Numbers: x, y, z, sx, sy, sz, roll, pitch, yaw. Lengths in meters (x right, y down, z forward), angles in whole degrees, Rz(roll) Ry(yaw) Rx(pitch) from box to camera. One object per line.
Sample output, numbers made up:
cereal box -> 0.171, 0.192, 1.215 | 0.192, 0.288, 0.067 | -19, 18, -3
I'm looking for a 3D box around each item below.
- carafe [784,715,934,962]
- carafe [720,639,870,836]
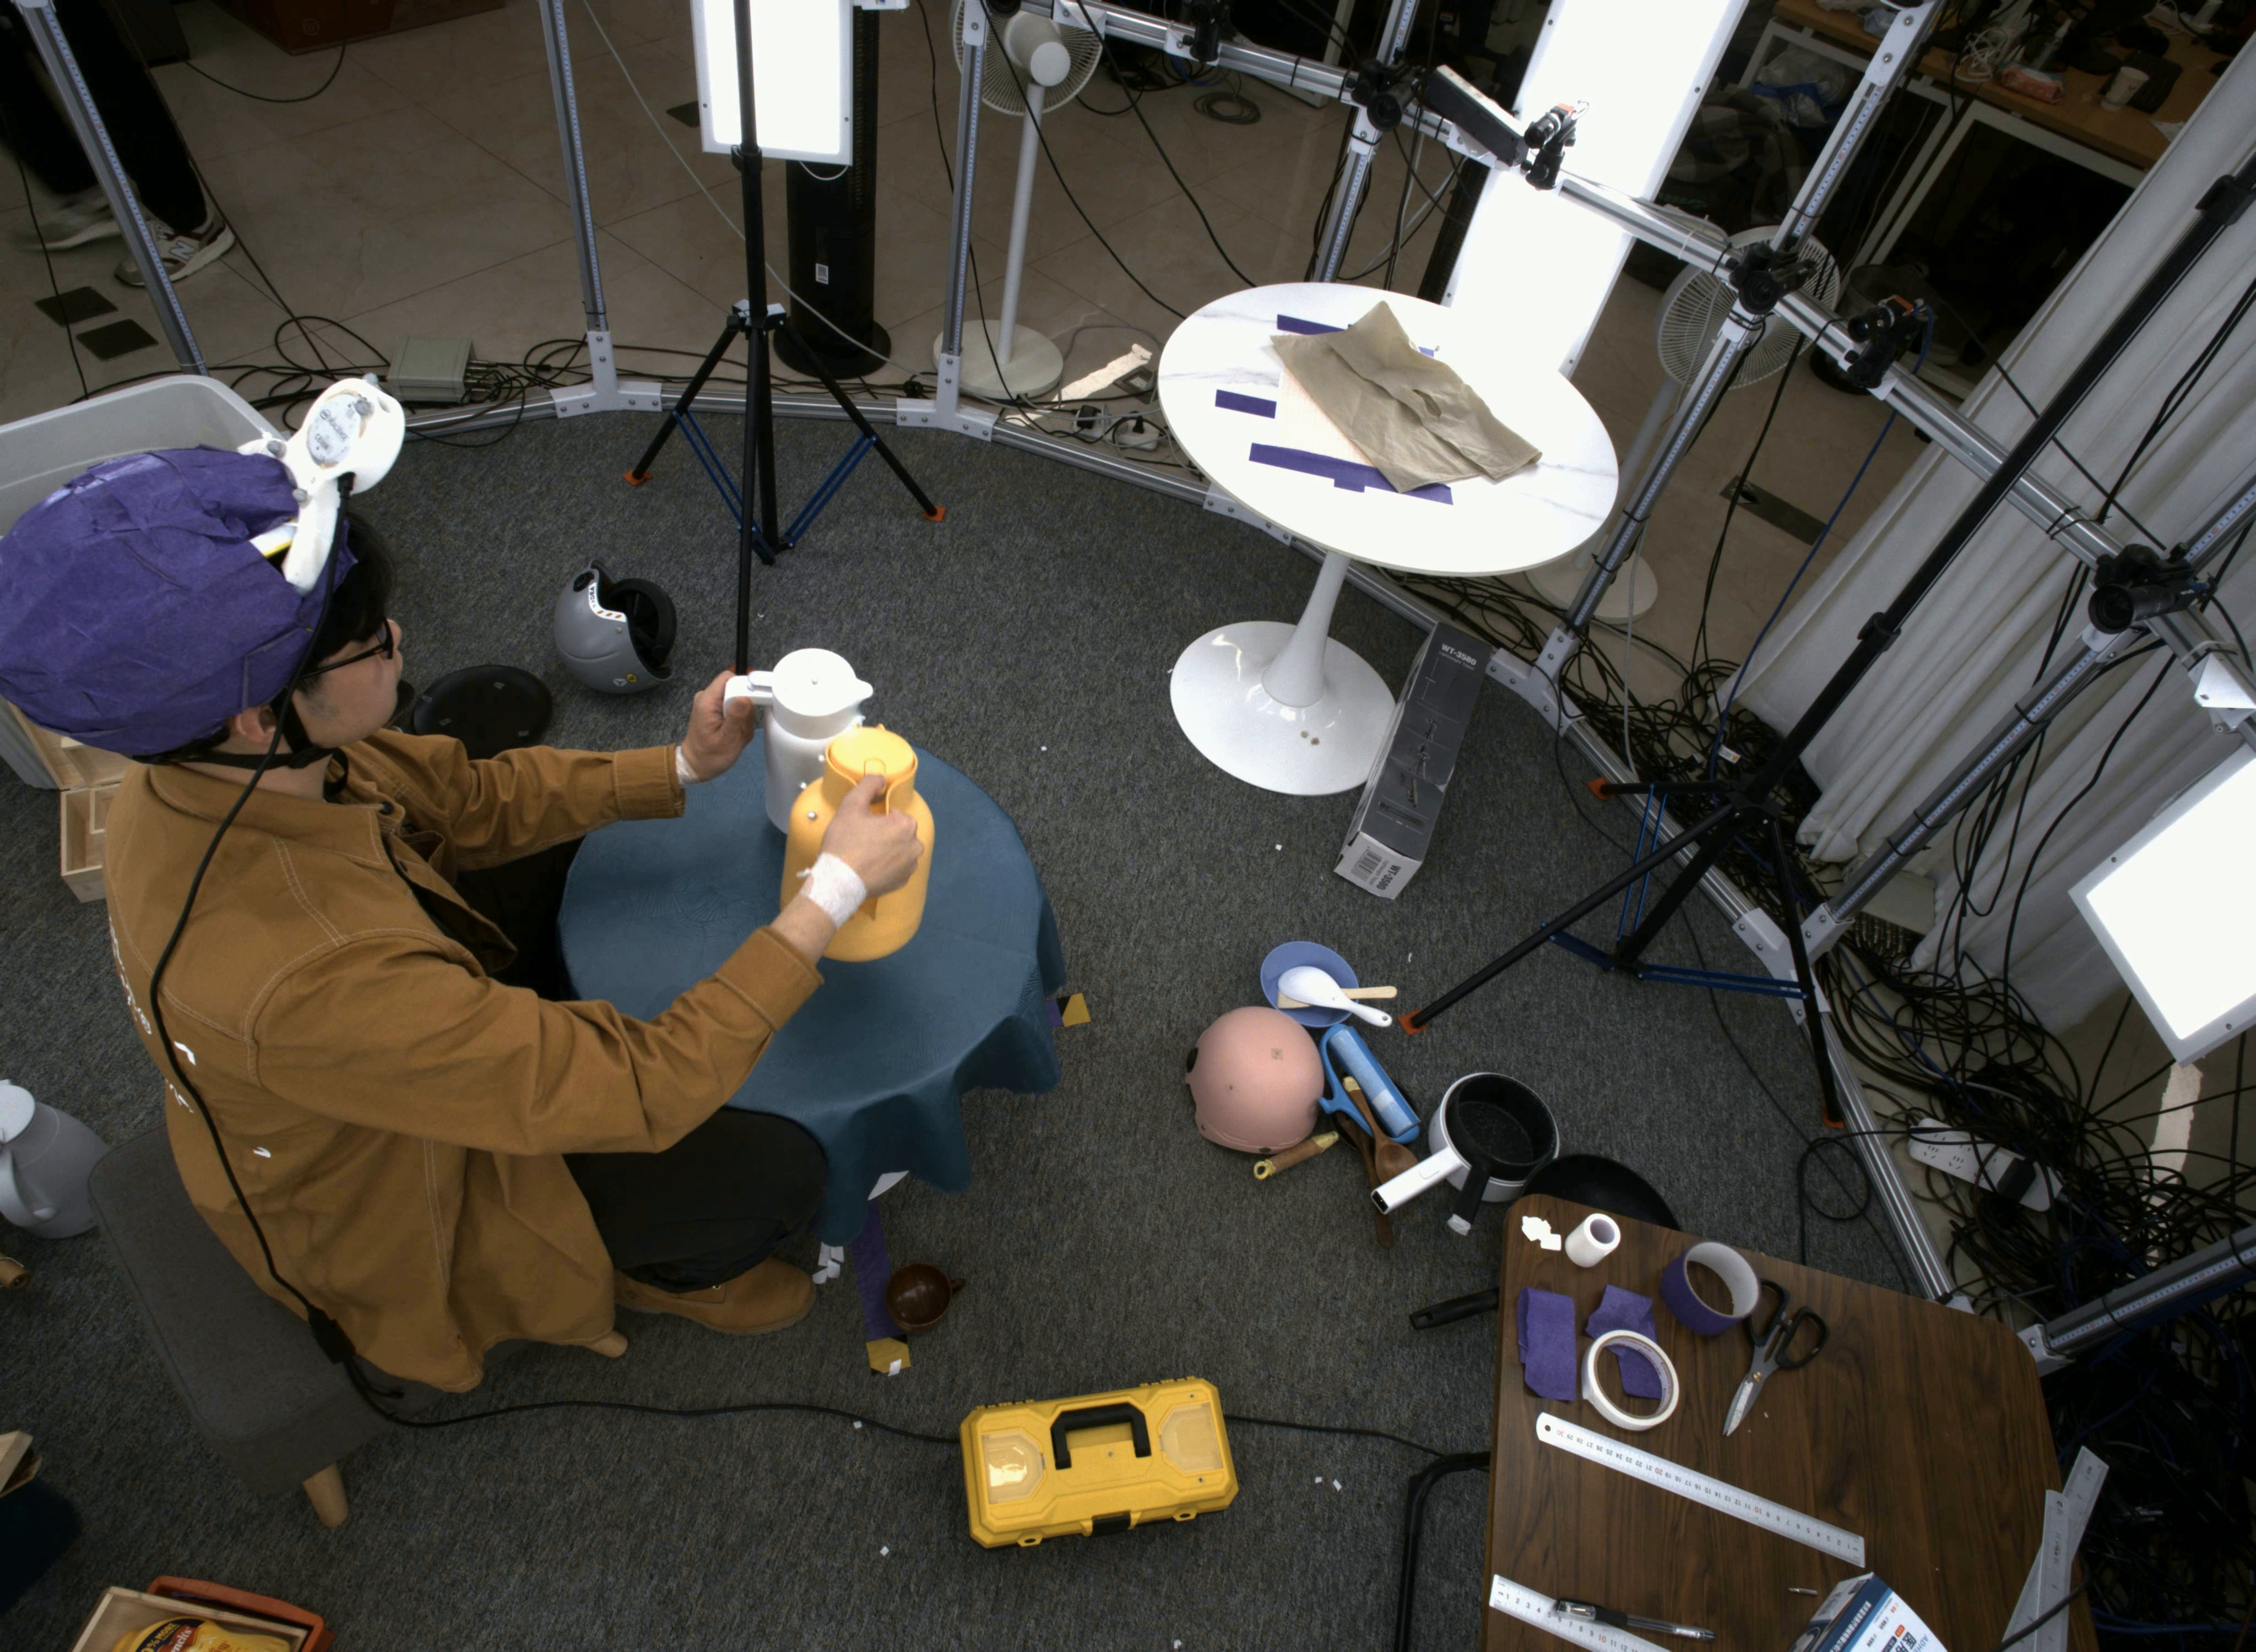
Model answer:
carafe -> -0.294, 0.022, 1.420 | 0.164, 0.267, 0.197 | 2, 37, -13
carafe -> -0.407, -0.101, 1.586 | 0.173, 0.273, 0.122 | 1, 59, -14
